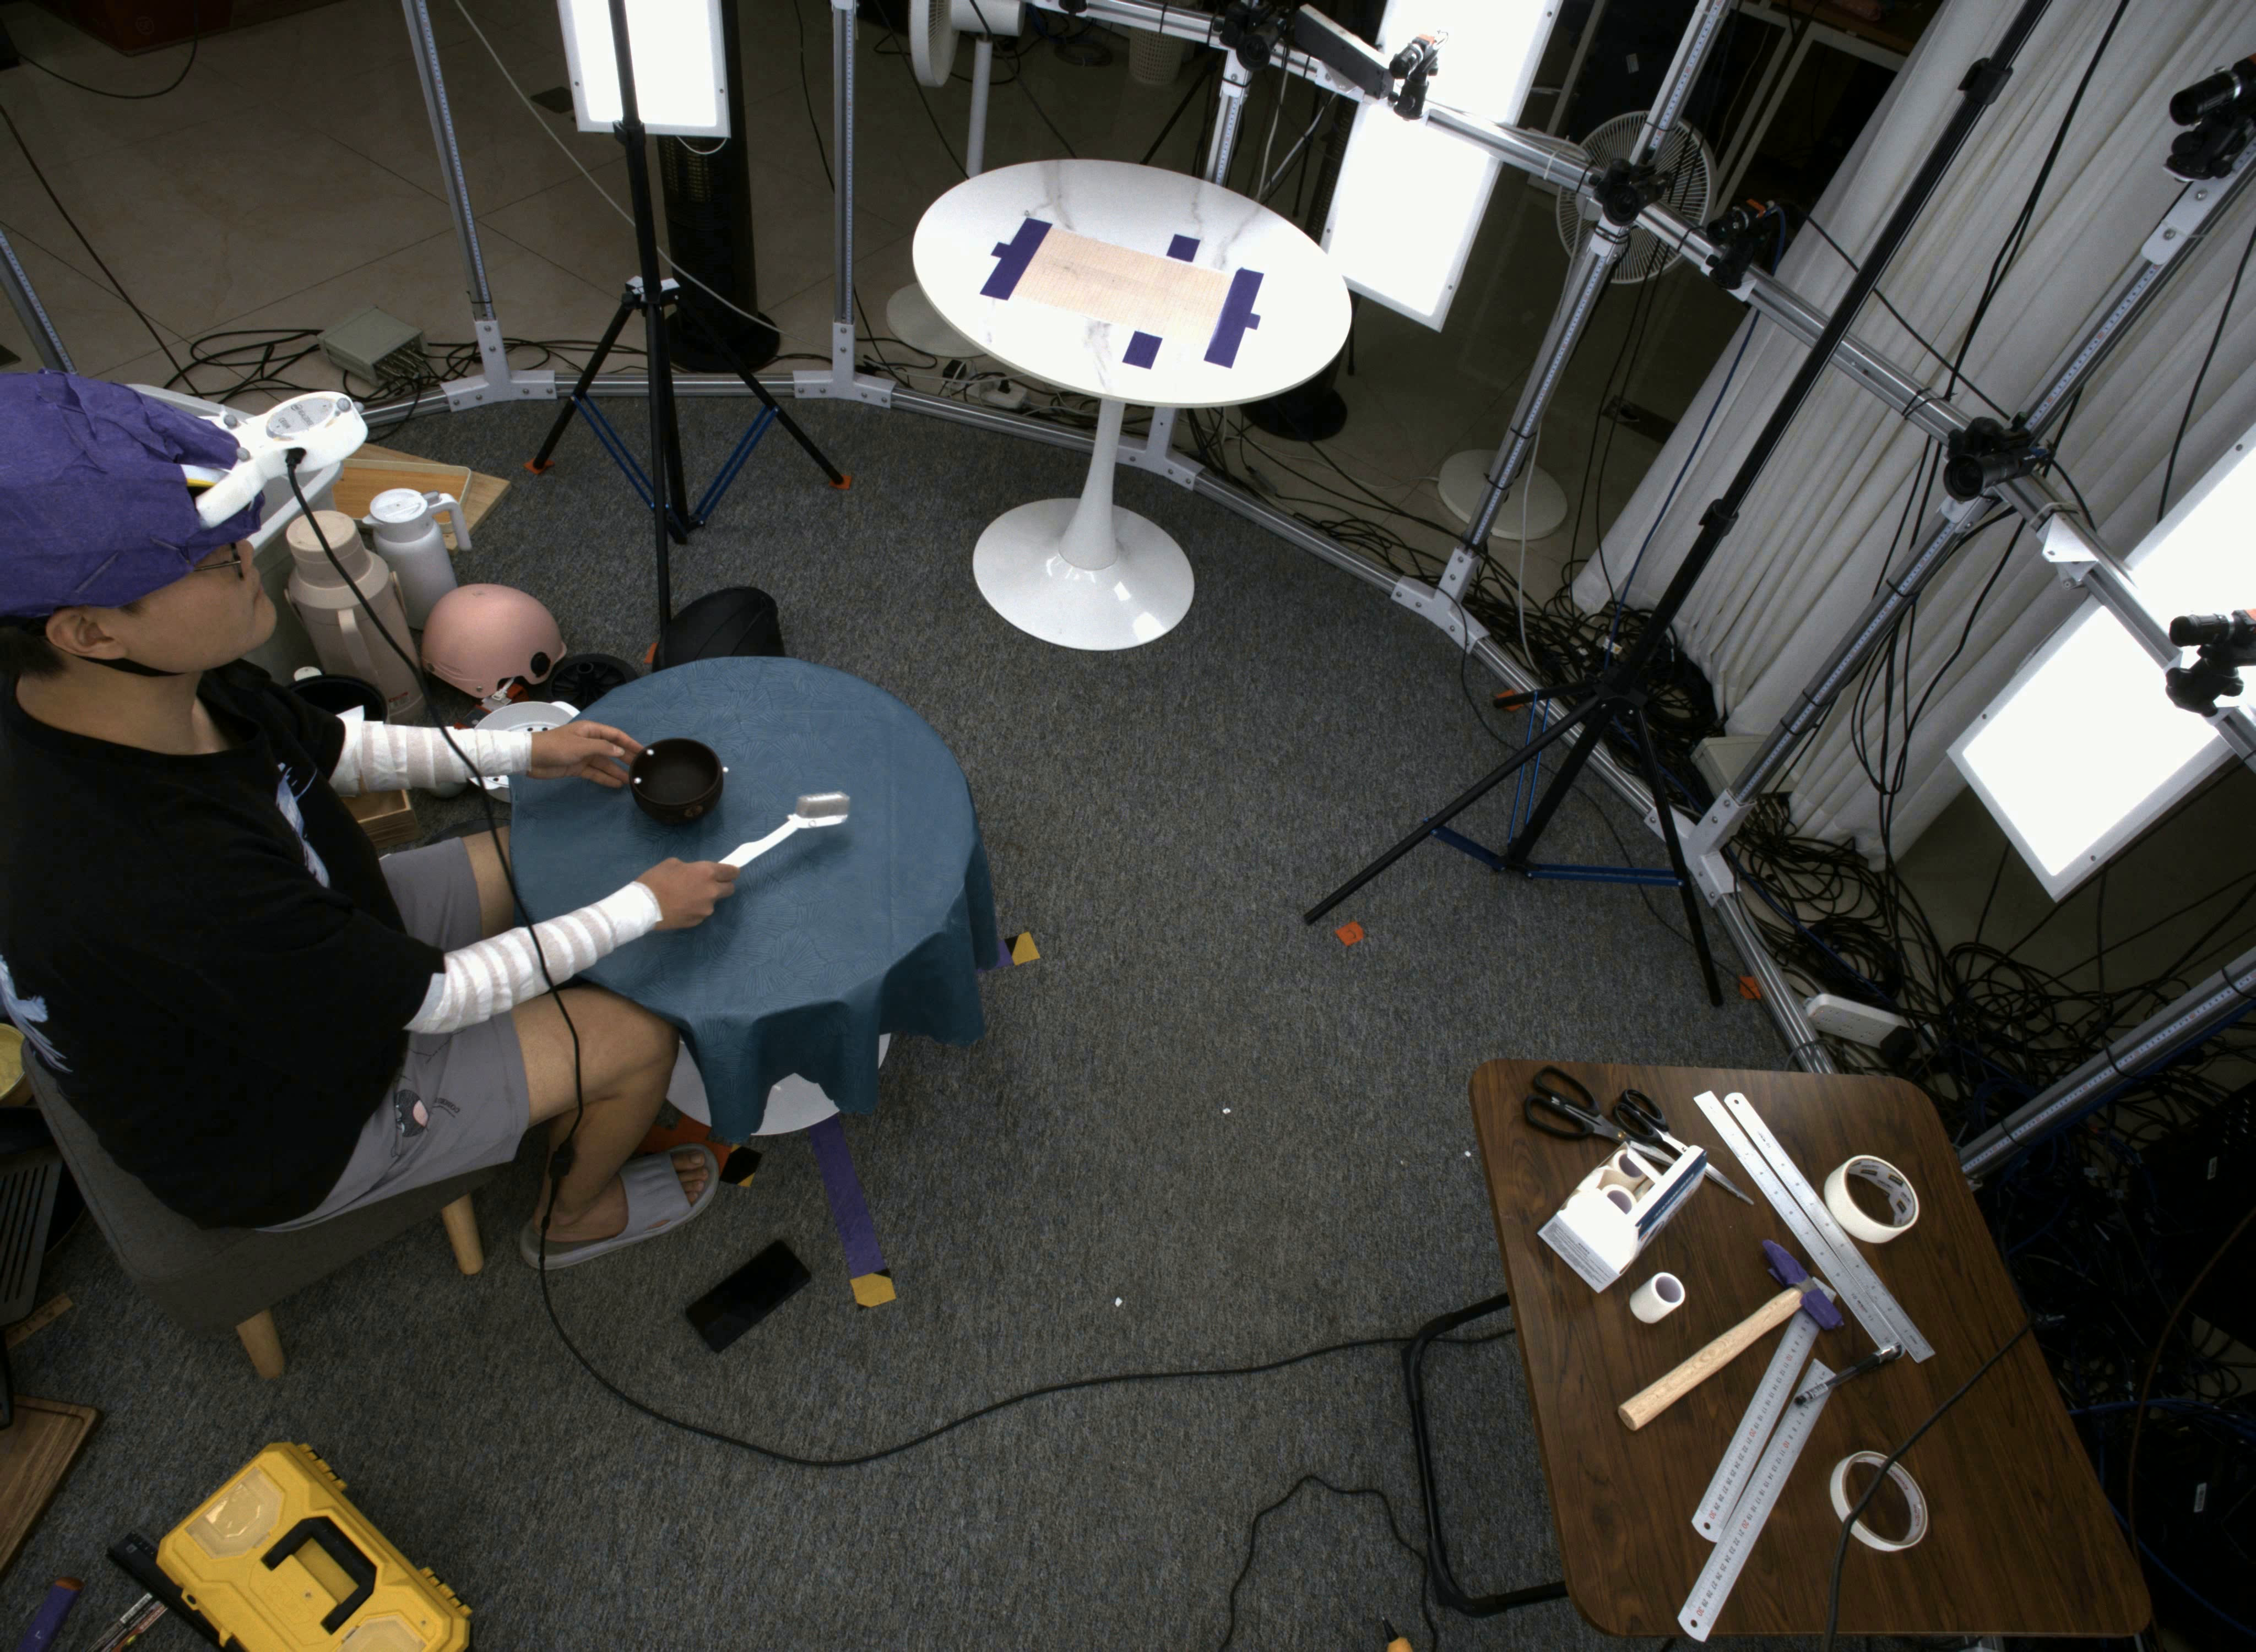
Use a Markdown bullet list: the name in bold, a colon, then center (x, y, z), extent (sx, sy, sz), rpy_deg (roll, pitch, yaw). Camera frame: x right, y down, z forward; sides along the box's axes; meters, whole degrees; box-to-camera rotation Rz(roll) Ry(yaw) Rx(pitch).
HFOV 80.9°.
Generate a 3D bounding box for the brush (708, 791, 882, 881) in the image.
- **brush**: center (-0.426, 0.005, 1.658), extent (0.245, 0.052, 0.033), rpy_deg (-23, 33, -29)

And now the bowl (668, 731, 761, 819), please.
- **bowl**: center (-0.543, -0.061, 1.702), extent (0.117, 0.071, 0.116), rpy_deg (6, 54, -7)
